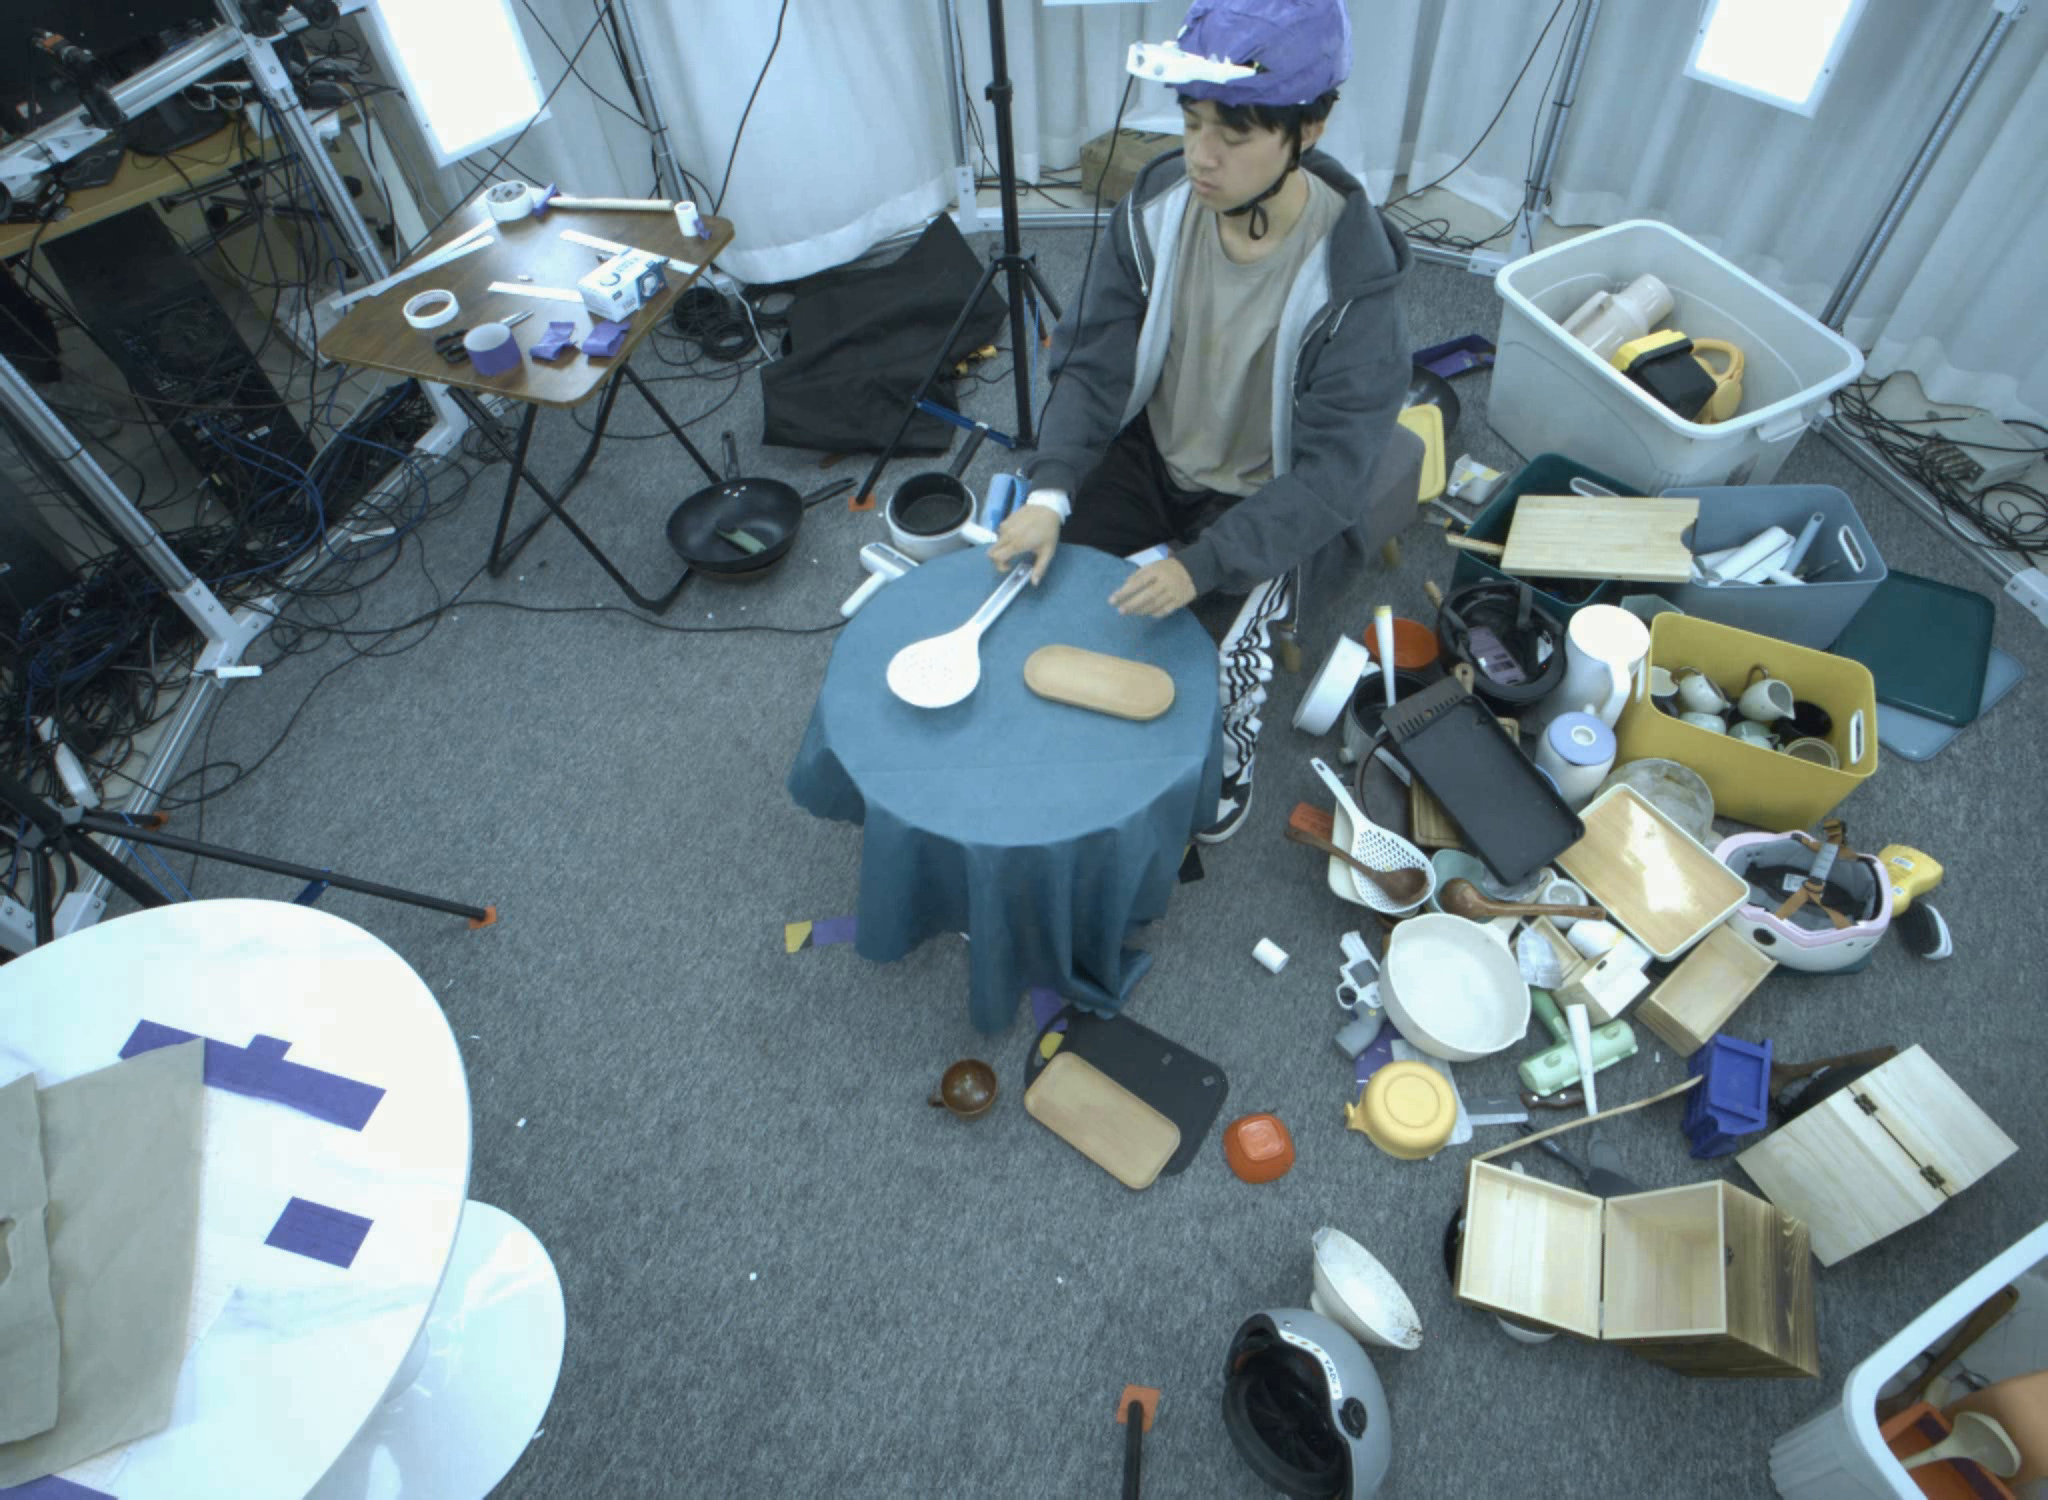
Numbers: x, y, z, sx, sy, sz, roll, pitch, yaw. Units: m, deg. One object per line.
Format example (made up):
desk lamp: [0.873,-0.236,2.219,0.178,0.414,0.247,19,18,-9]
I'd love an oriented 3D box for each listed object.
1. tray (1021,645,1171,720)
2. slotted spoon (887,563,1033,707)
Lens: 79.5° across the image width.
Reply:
tray: [0.107,-0.101,1.848,0.229,0.020,0.101,13,55,12]
slotted spoon: [-0.083,-0.183,1.895,0.134,0.046,0.350,25,58,16]
